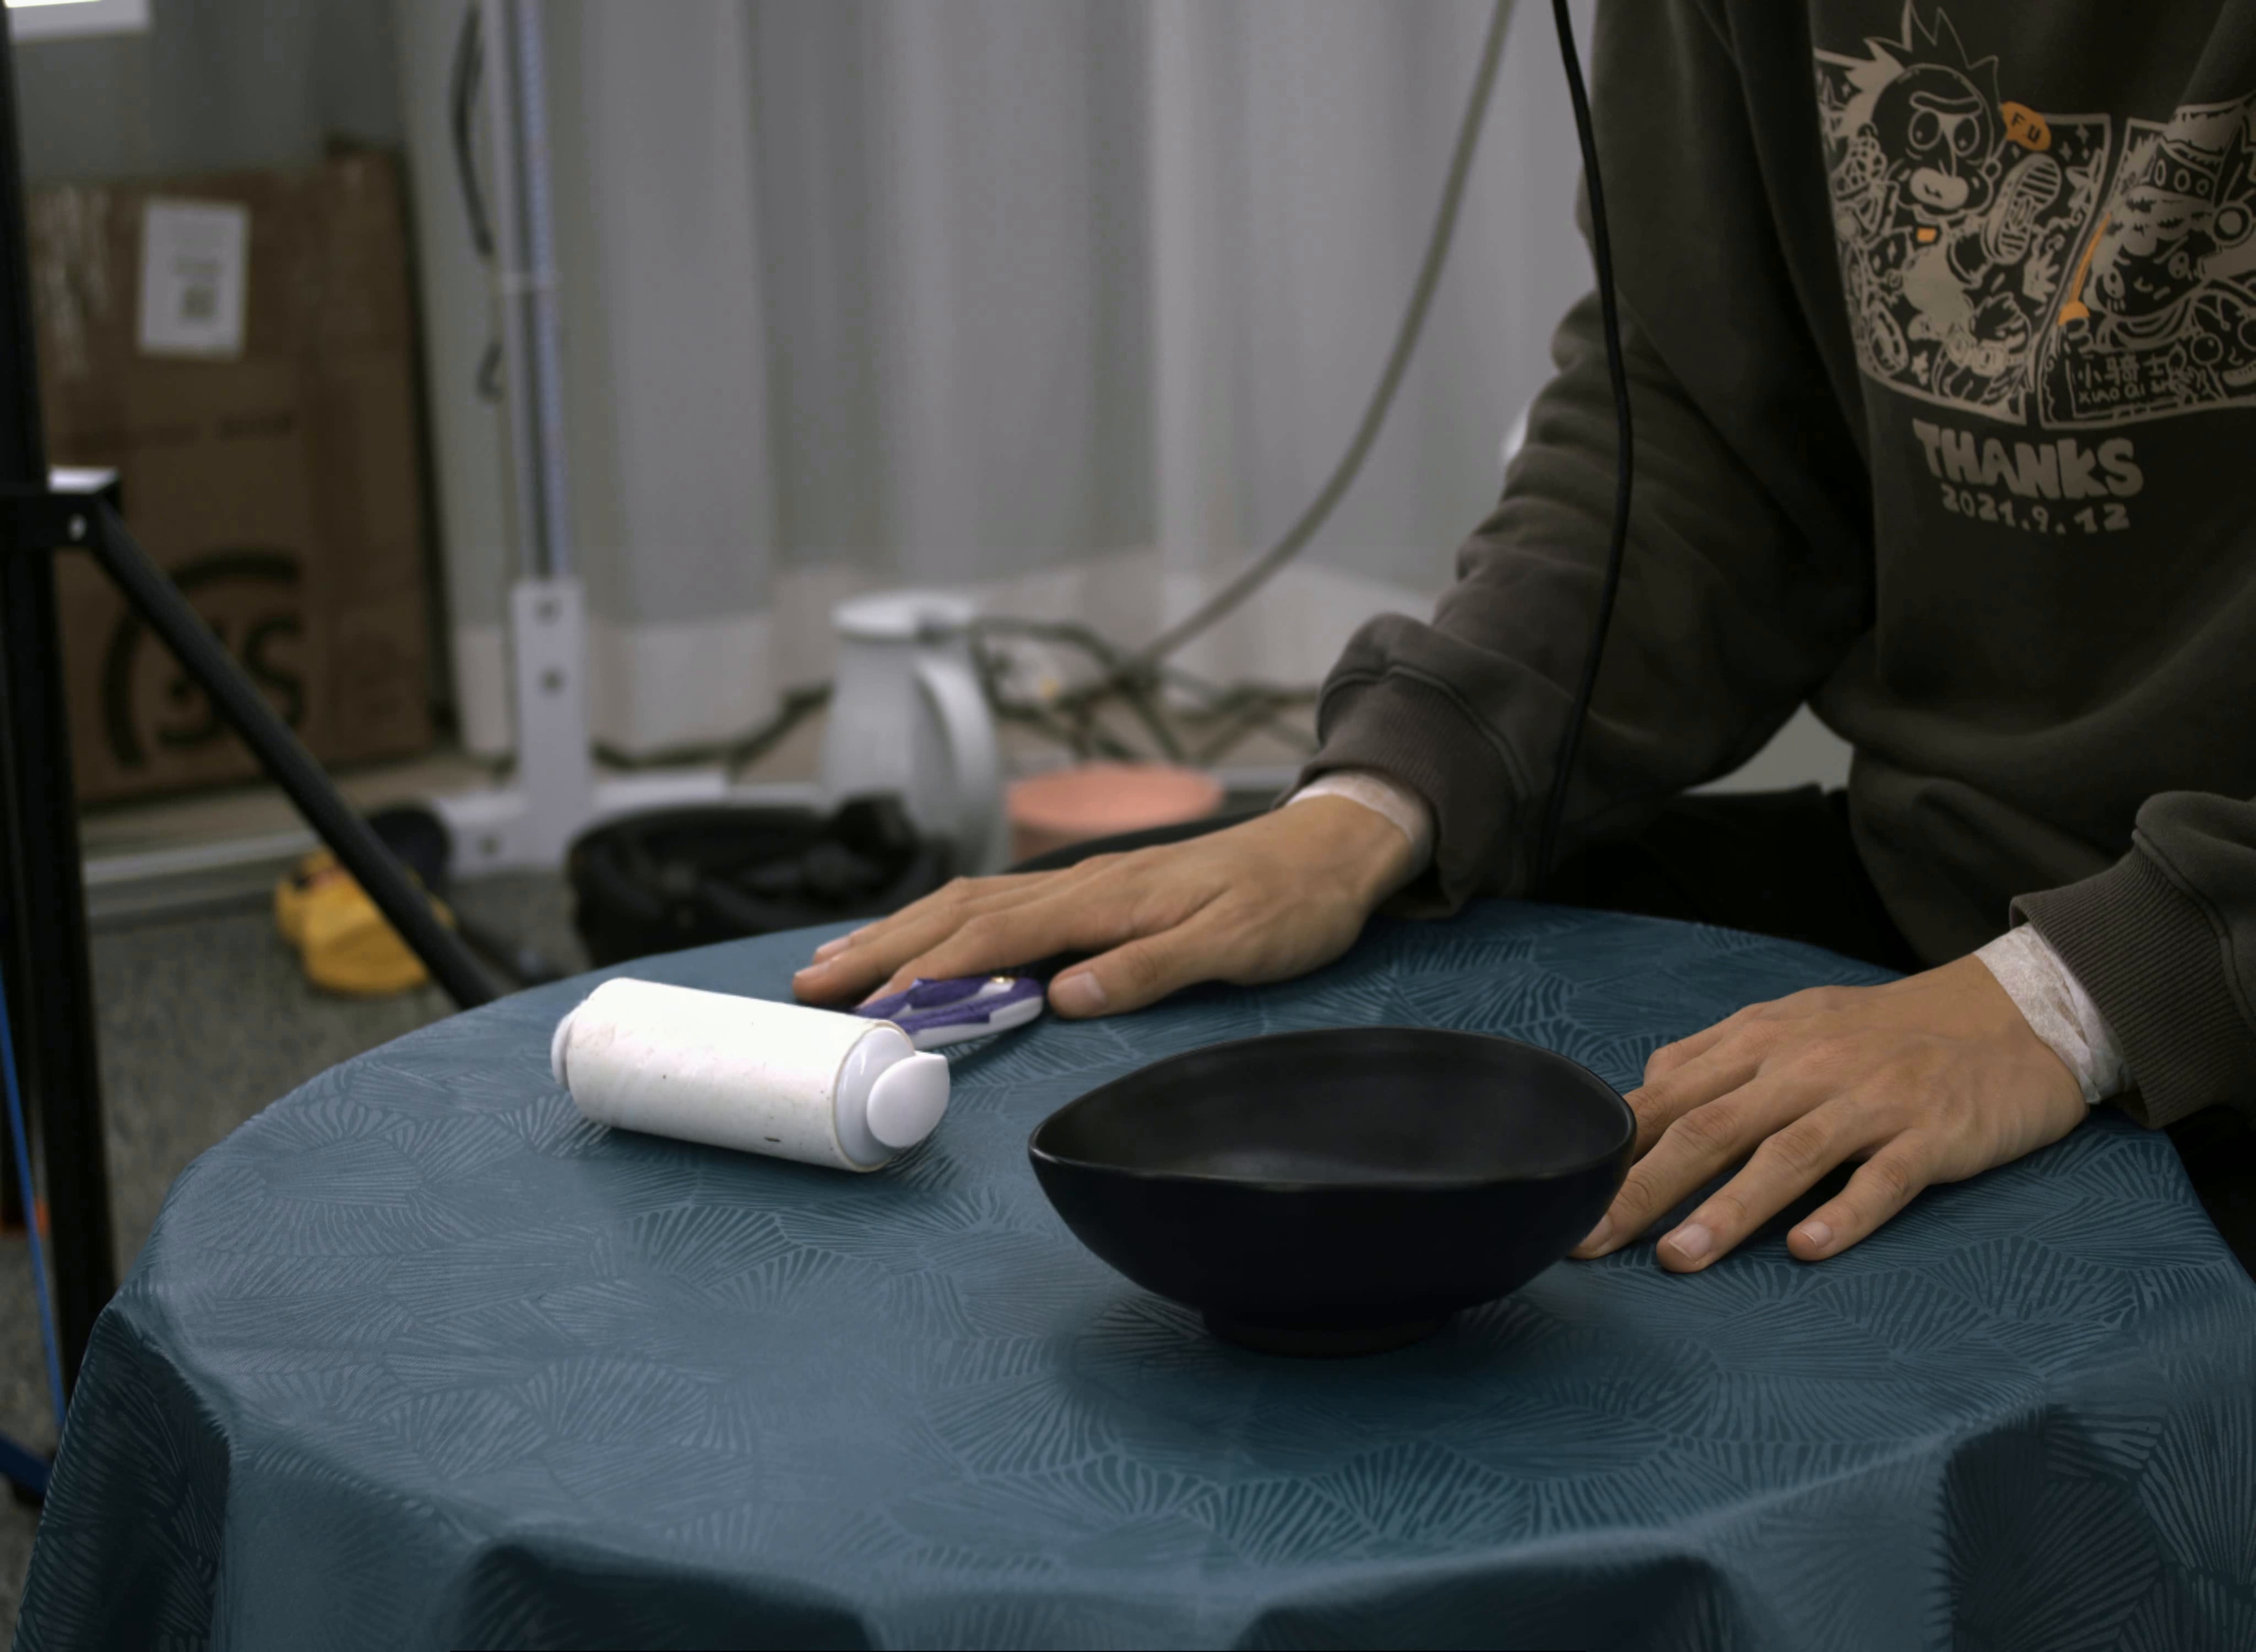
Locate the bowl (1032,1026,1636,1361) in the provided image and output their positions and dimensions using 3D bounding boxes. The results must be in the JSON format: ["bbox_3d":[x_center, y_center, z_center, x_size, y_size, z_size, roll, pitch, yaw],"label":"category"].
[{"bbox_3d":[0.055,0.105,1.447,0.172,0.067,0.136,1,15,19],"label":"bowl"}]

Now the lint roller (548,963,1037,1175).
[{"bbox_3d":[-0.081,0.058,1.666,0.135,0.050,0.177,8,22,35],"label":"lint roller"}]
